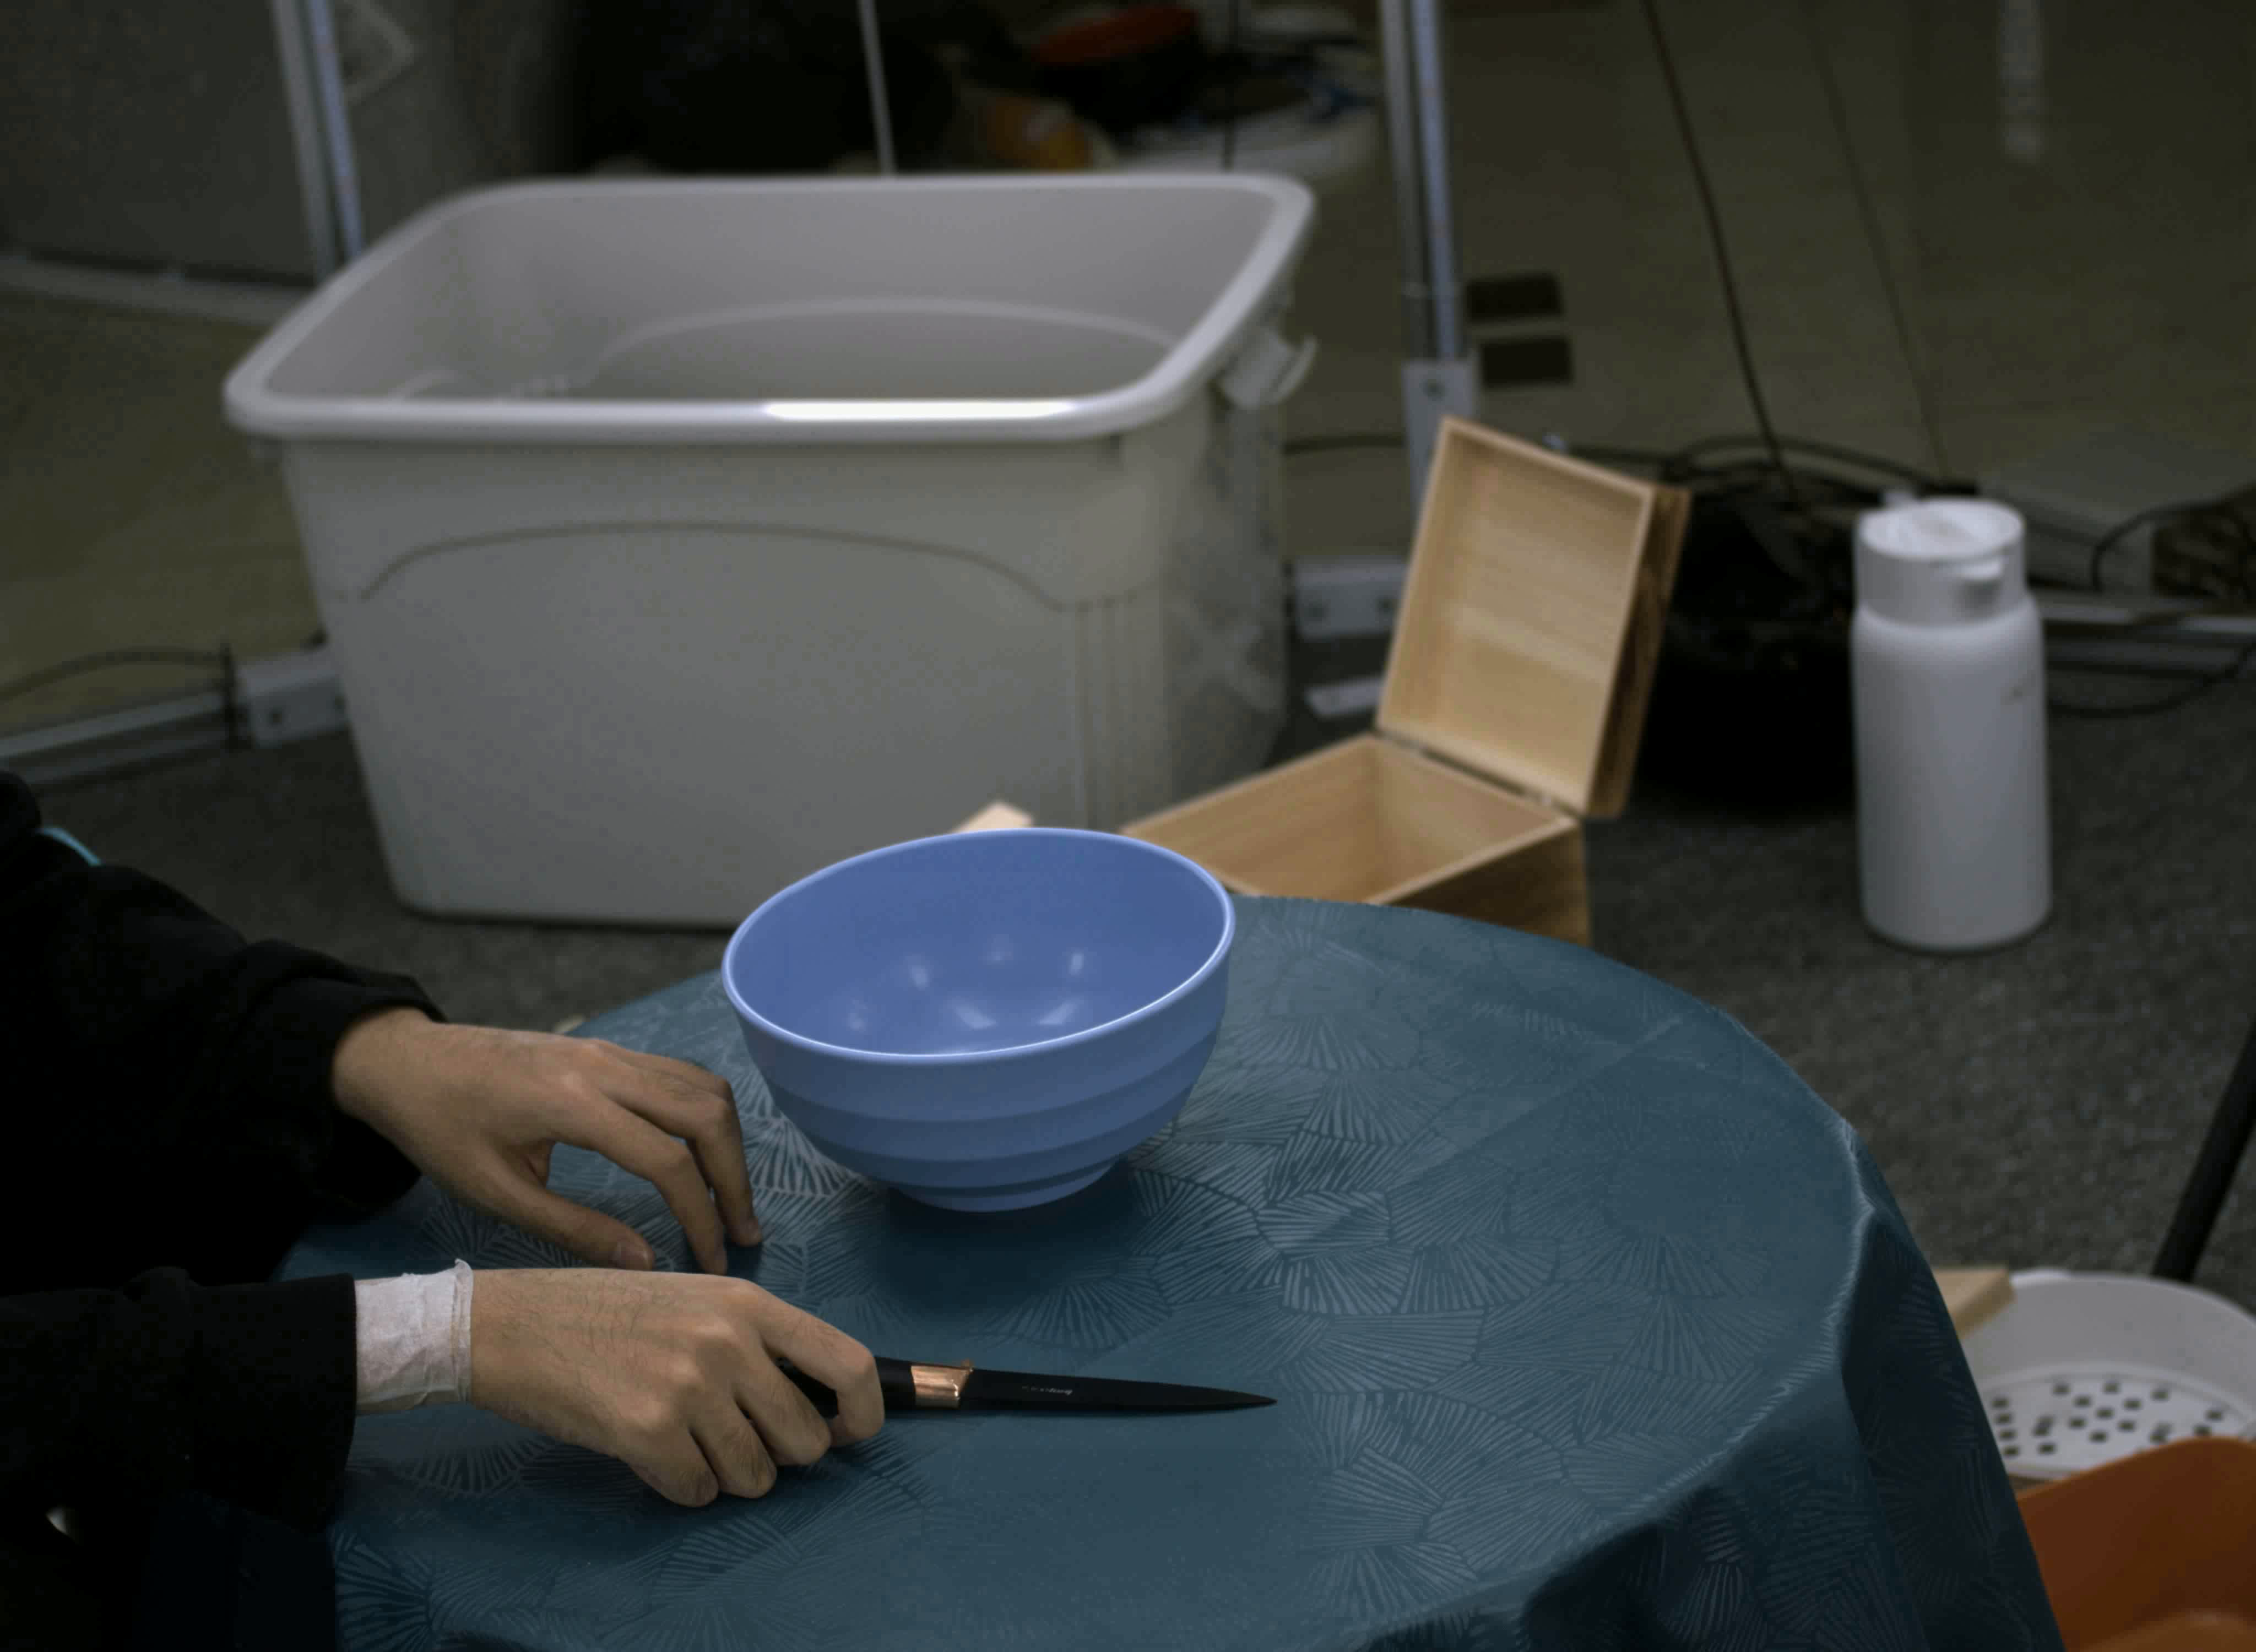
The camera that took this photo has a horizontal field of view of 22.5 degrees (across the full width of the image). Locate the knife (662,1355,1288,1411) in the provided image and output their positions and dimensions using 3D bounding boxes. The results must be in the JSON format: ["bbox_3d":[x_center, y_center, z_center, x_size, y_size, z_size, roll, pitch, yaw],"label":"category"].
[{"bbox_3d":[-0.055,0.198,2.021,0.225,0.017,0.026,0,21,10],"label":"knife"}]

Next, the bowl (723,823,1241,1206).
[{"bbox_3d":[-0.053,0.082,2.161,0.196,0.097,0.193,-3,25,1],"label":"bowl"}]
